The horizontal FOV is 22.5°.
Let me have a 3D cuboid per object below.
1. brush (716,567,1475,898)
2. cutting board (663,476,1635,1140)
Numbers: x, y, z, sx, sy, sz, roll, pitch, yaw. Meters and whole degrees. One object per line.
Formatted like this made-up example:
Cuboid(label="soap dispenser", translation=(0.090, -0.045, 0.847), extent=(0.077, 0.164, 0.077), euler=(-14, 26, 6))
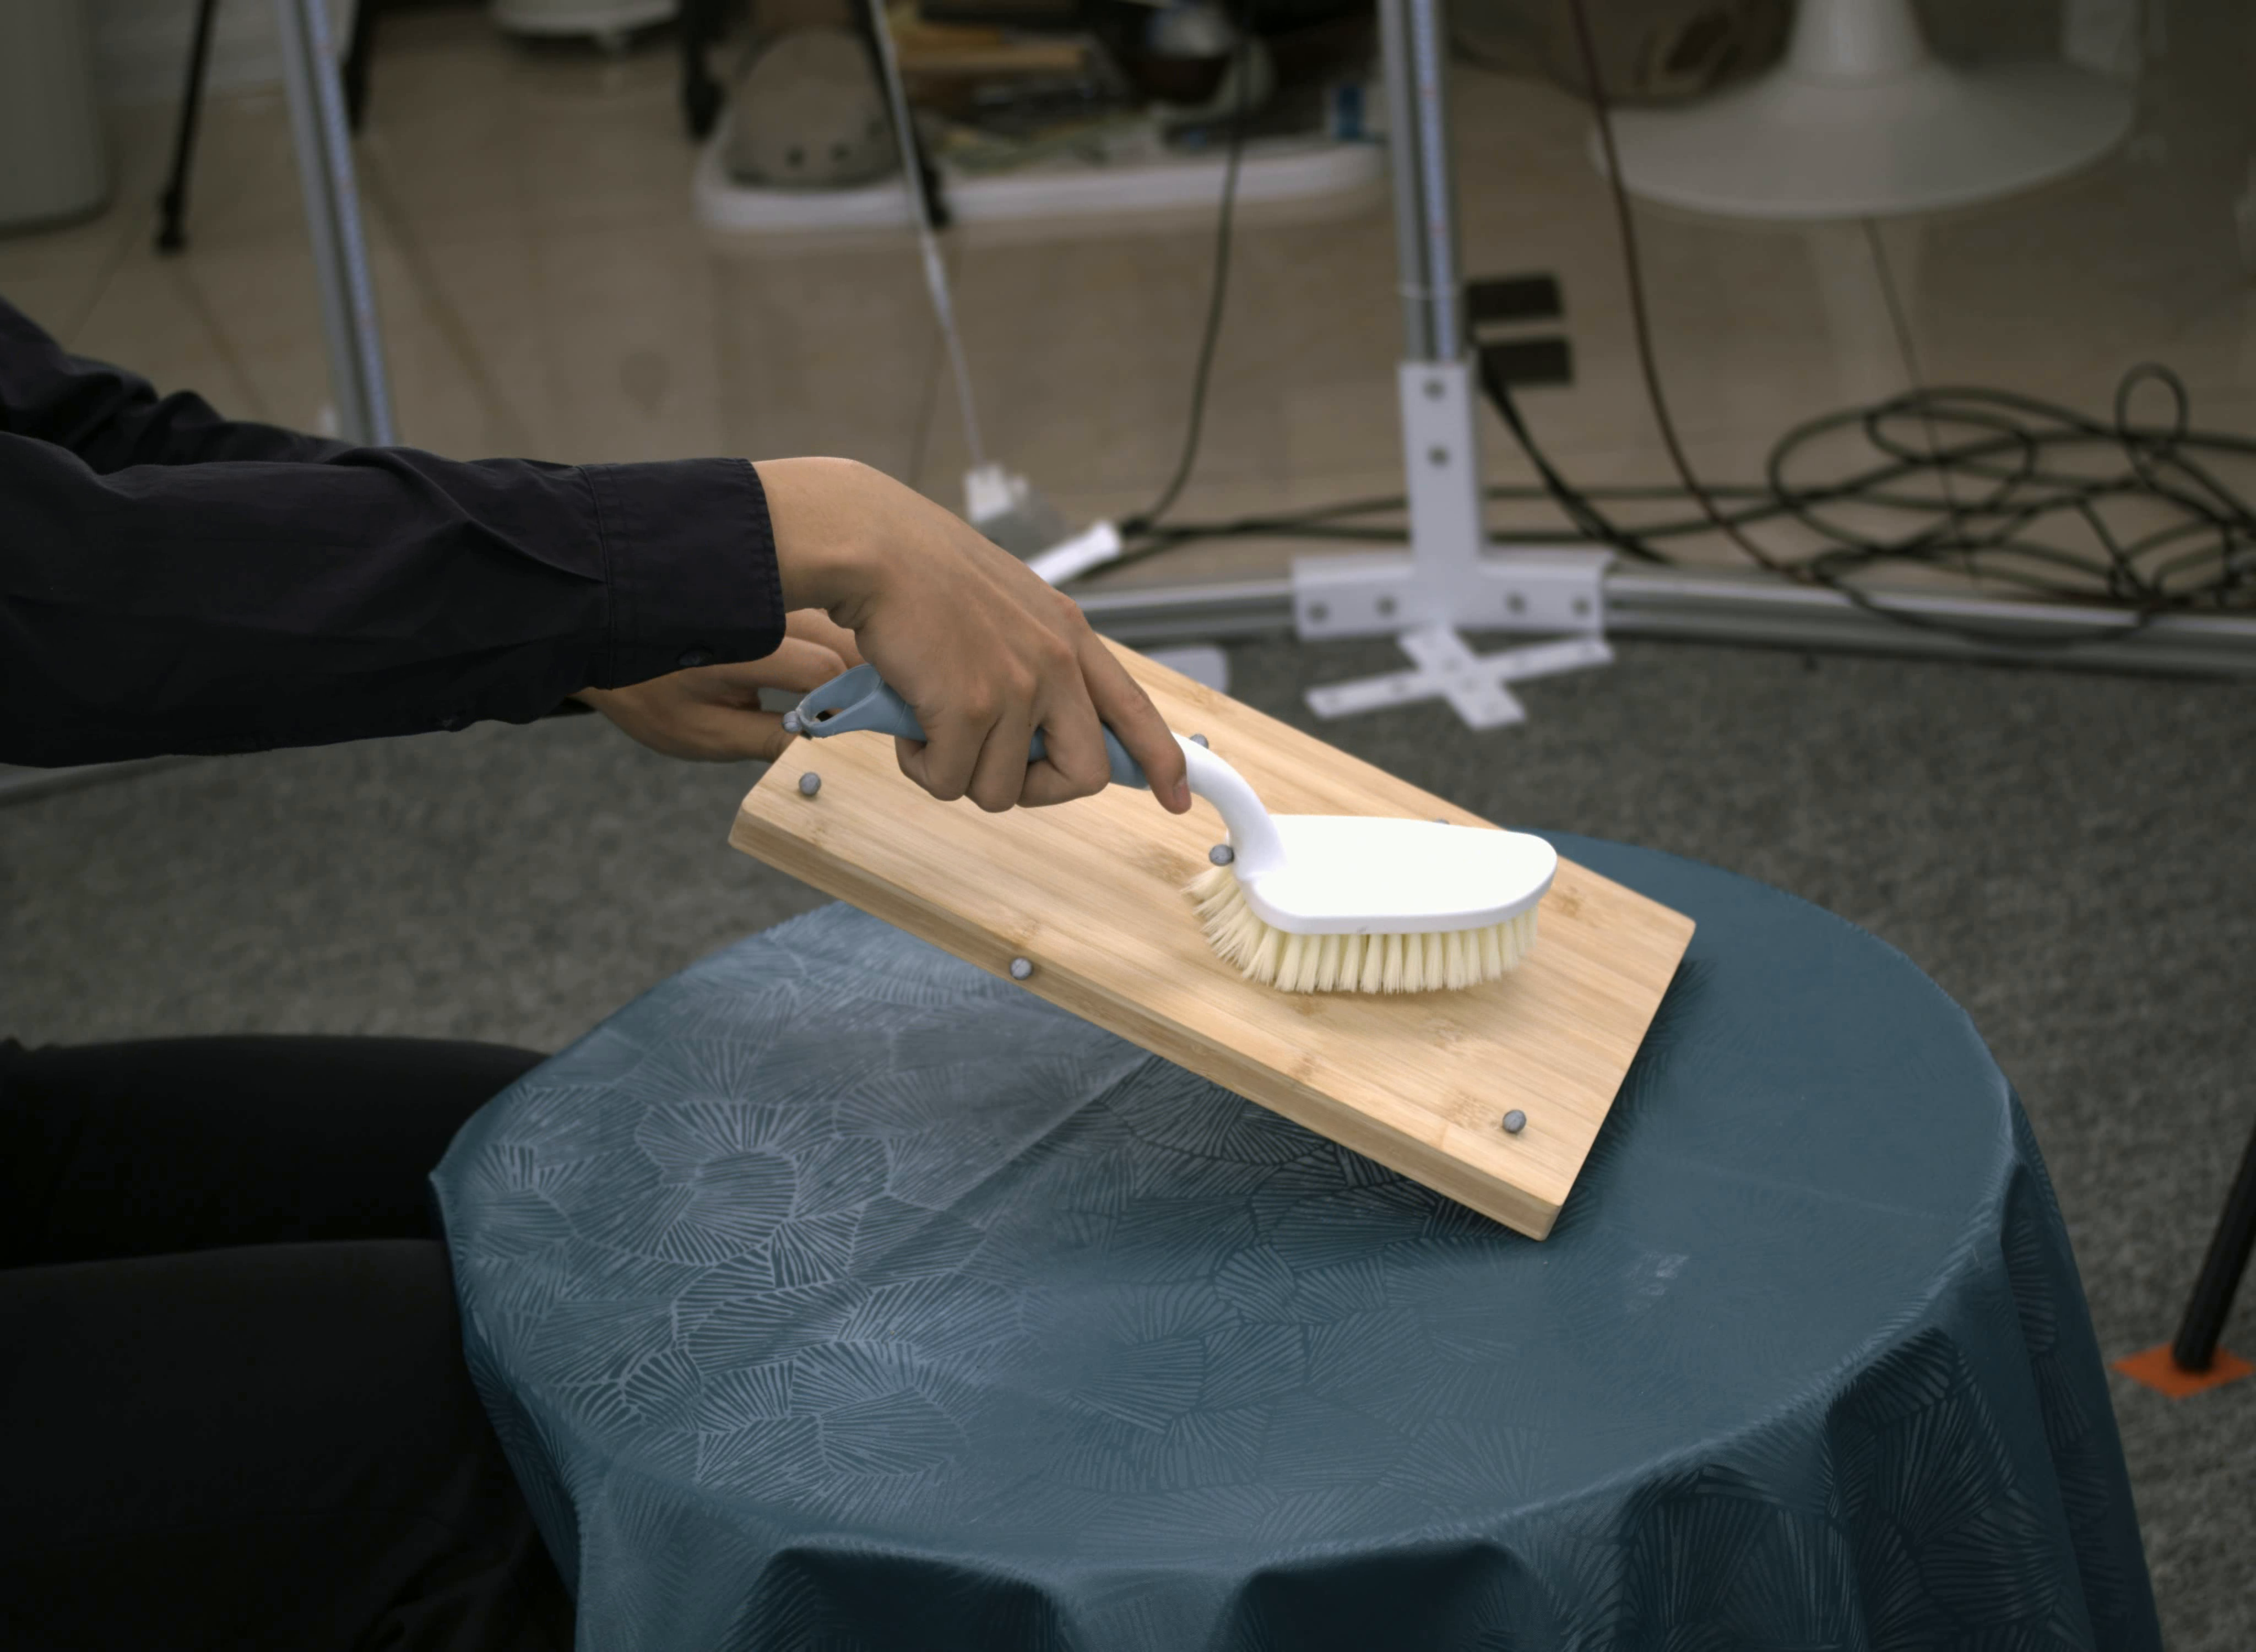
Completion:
Cuboid(label="brush", translation=(-0.019, -0.026, 2.130), extent=(0.326, 0.084, 0.083), euler=(12, -6, -28))
Cuboid(label="cutting board", translation=(0.014, -0.012, 2.215), extent=(0.348, 0.024, 0.247), euler=(25, 31, 3))
